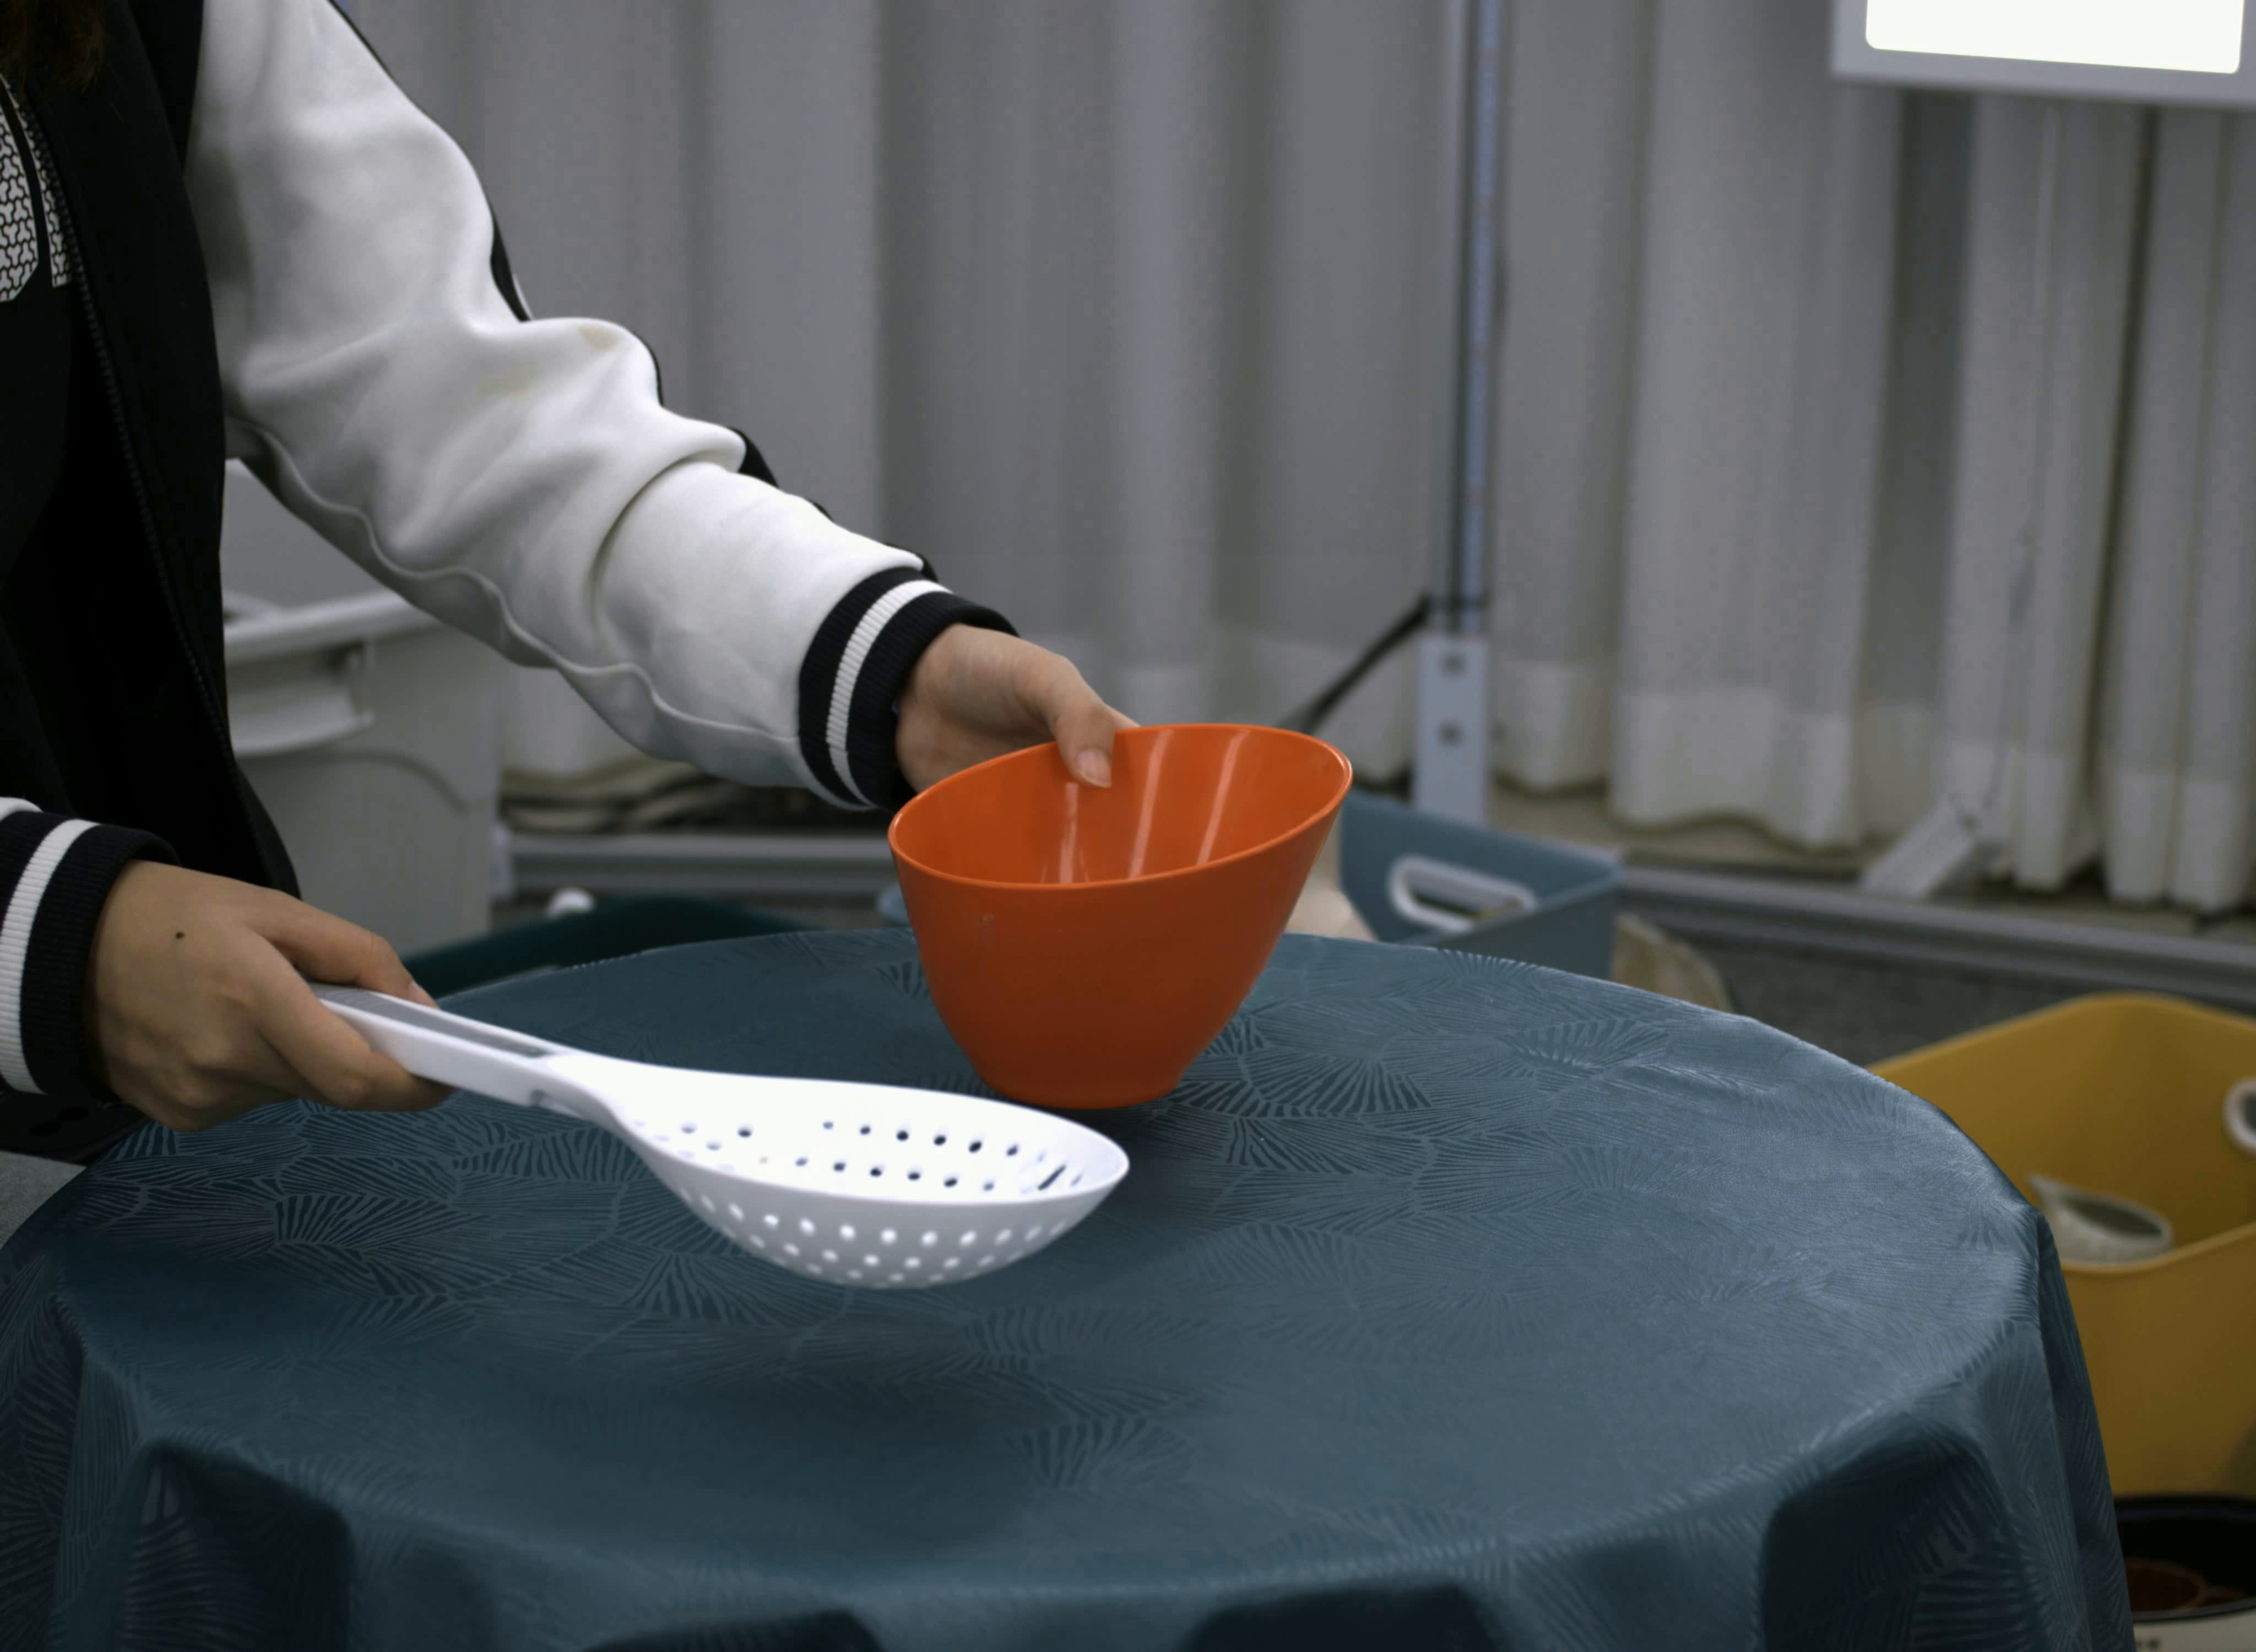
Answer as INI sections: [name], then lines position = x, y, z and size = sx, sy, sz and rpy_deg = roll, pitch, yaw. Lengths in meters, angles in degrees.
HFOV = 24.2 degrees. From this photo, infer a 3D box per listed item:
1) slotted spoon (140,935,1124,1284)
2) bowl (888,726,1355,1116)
[slotted spoon]
position = -0.155, 0.072, 1.494
size = 0.345, 0.046, 0.137
rpy_deg = 18, 14, 34
[bowl]
position = -0.003, 0.033, 1.677
size = 0.147, 0.105, 0.147
rpy_deg = 1, 20, 0
